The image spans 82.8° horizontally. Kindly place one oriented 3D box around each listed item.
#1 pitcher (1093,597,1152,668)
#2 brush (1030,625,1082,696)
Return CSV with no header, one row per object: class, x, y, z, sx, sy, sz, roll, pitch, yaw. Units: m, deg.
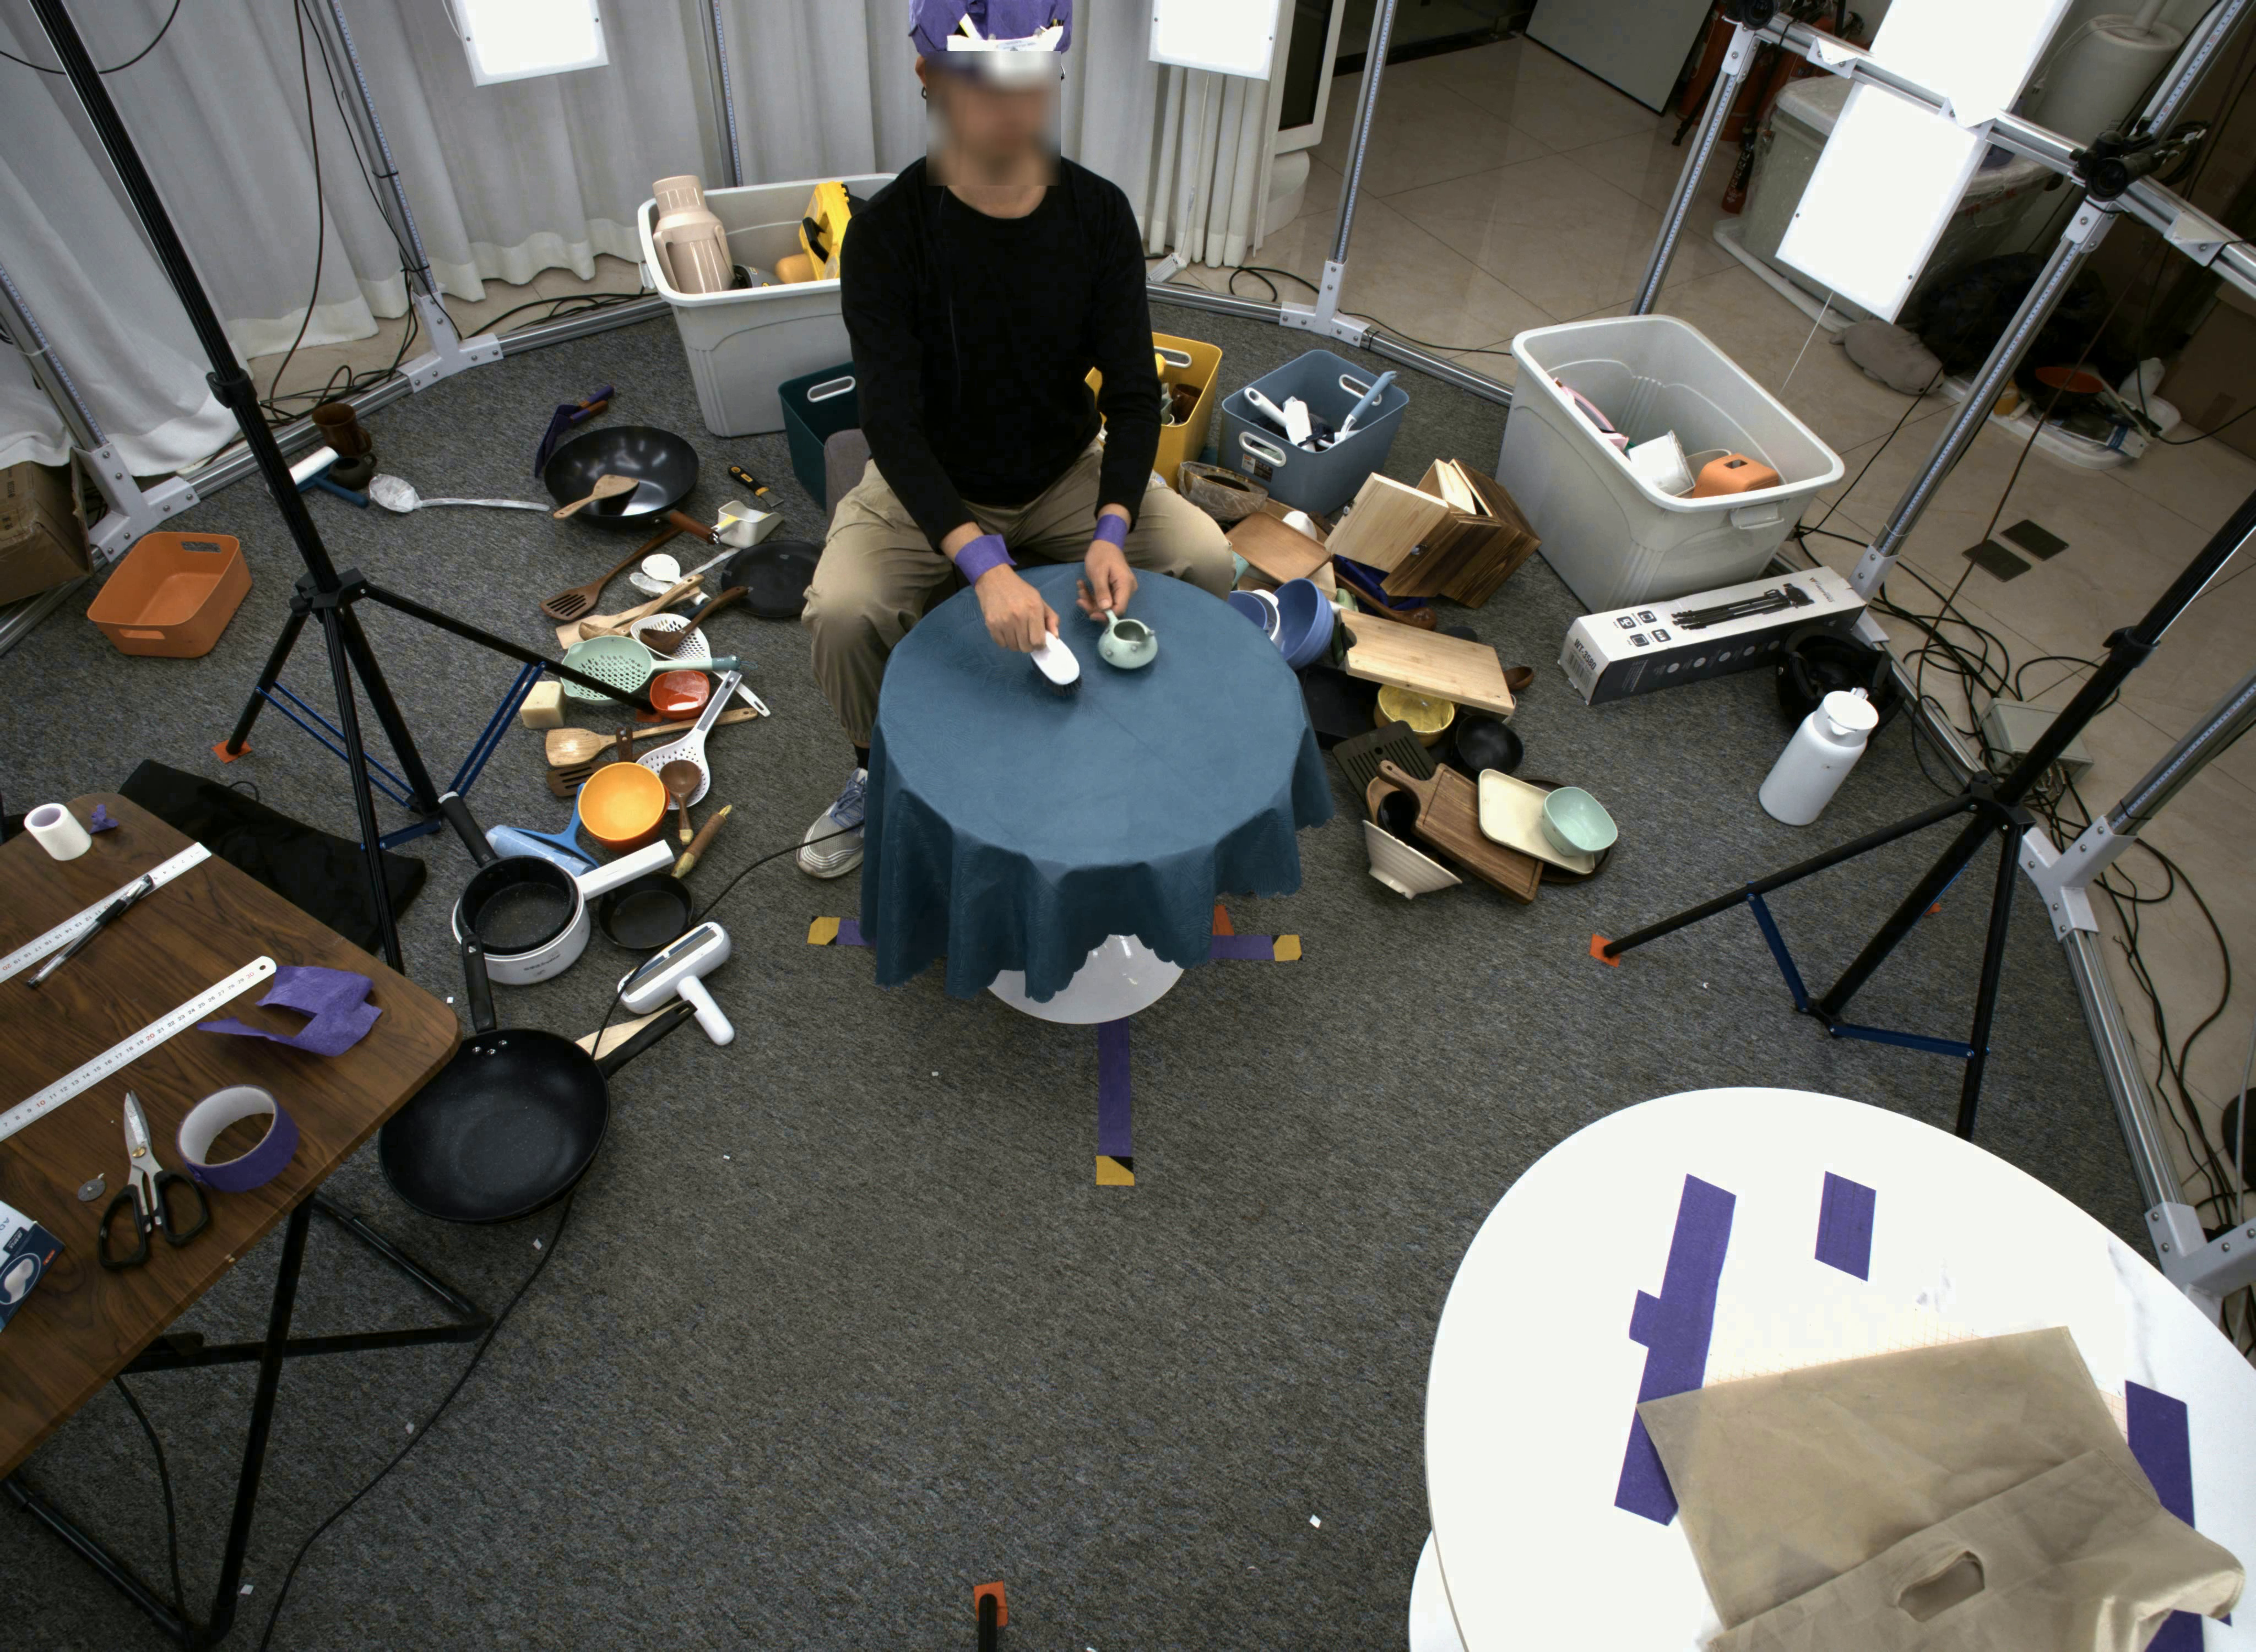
pitcher,-0.013,-0.283,1.870,0.086,0.059,0.109,-24,71,-10
brush,-0.104,-0.239,1.796,0.050,0.071,0.101,-27,58,-11
